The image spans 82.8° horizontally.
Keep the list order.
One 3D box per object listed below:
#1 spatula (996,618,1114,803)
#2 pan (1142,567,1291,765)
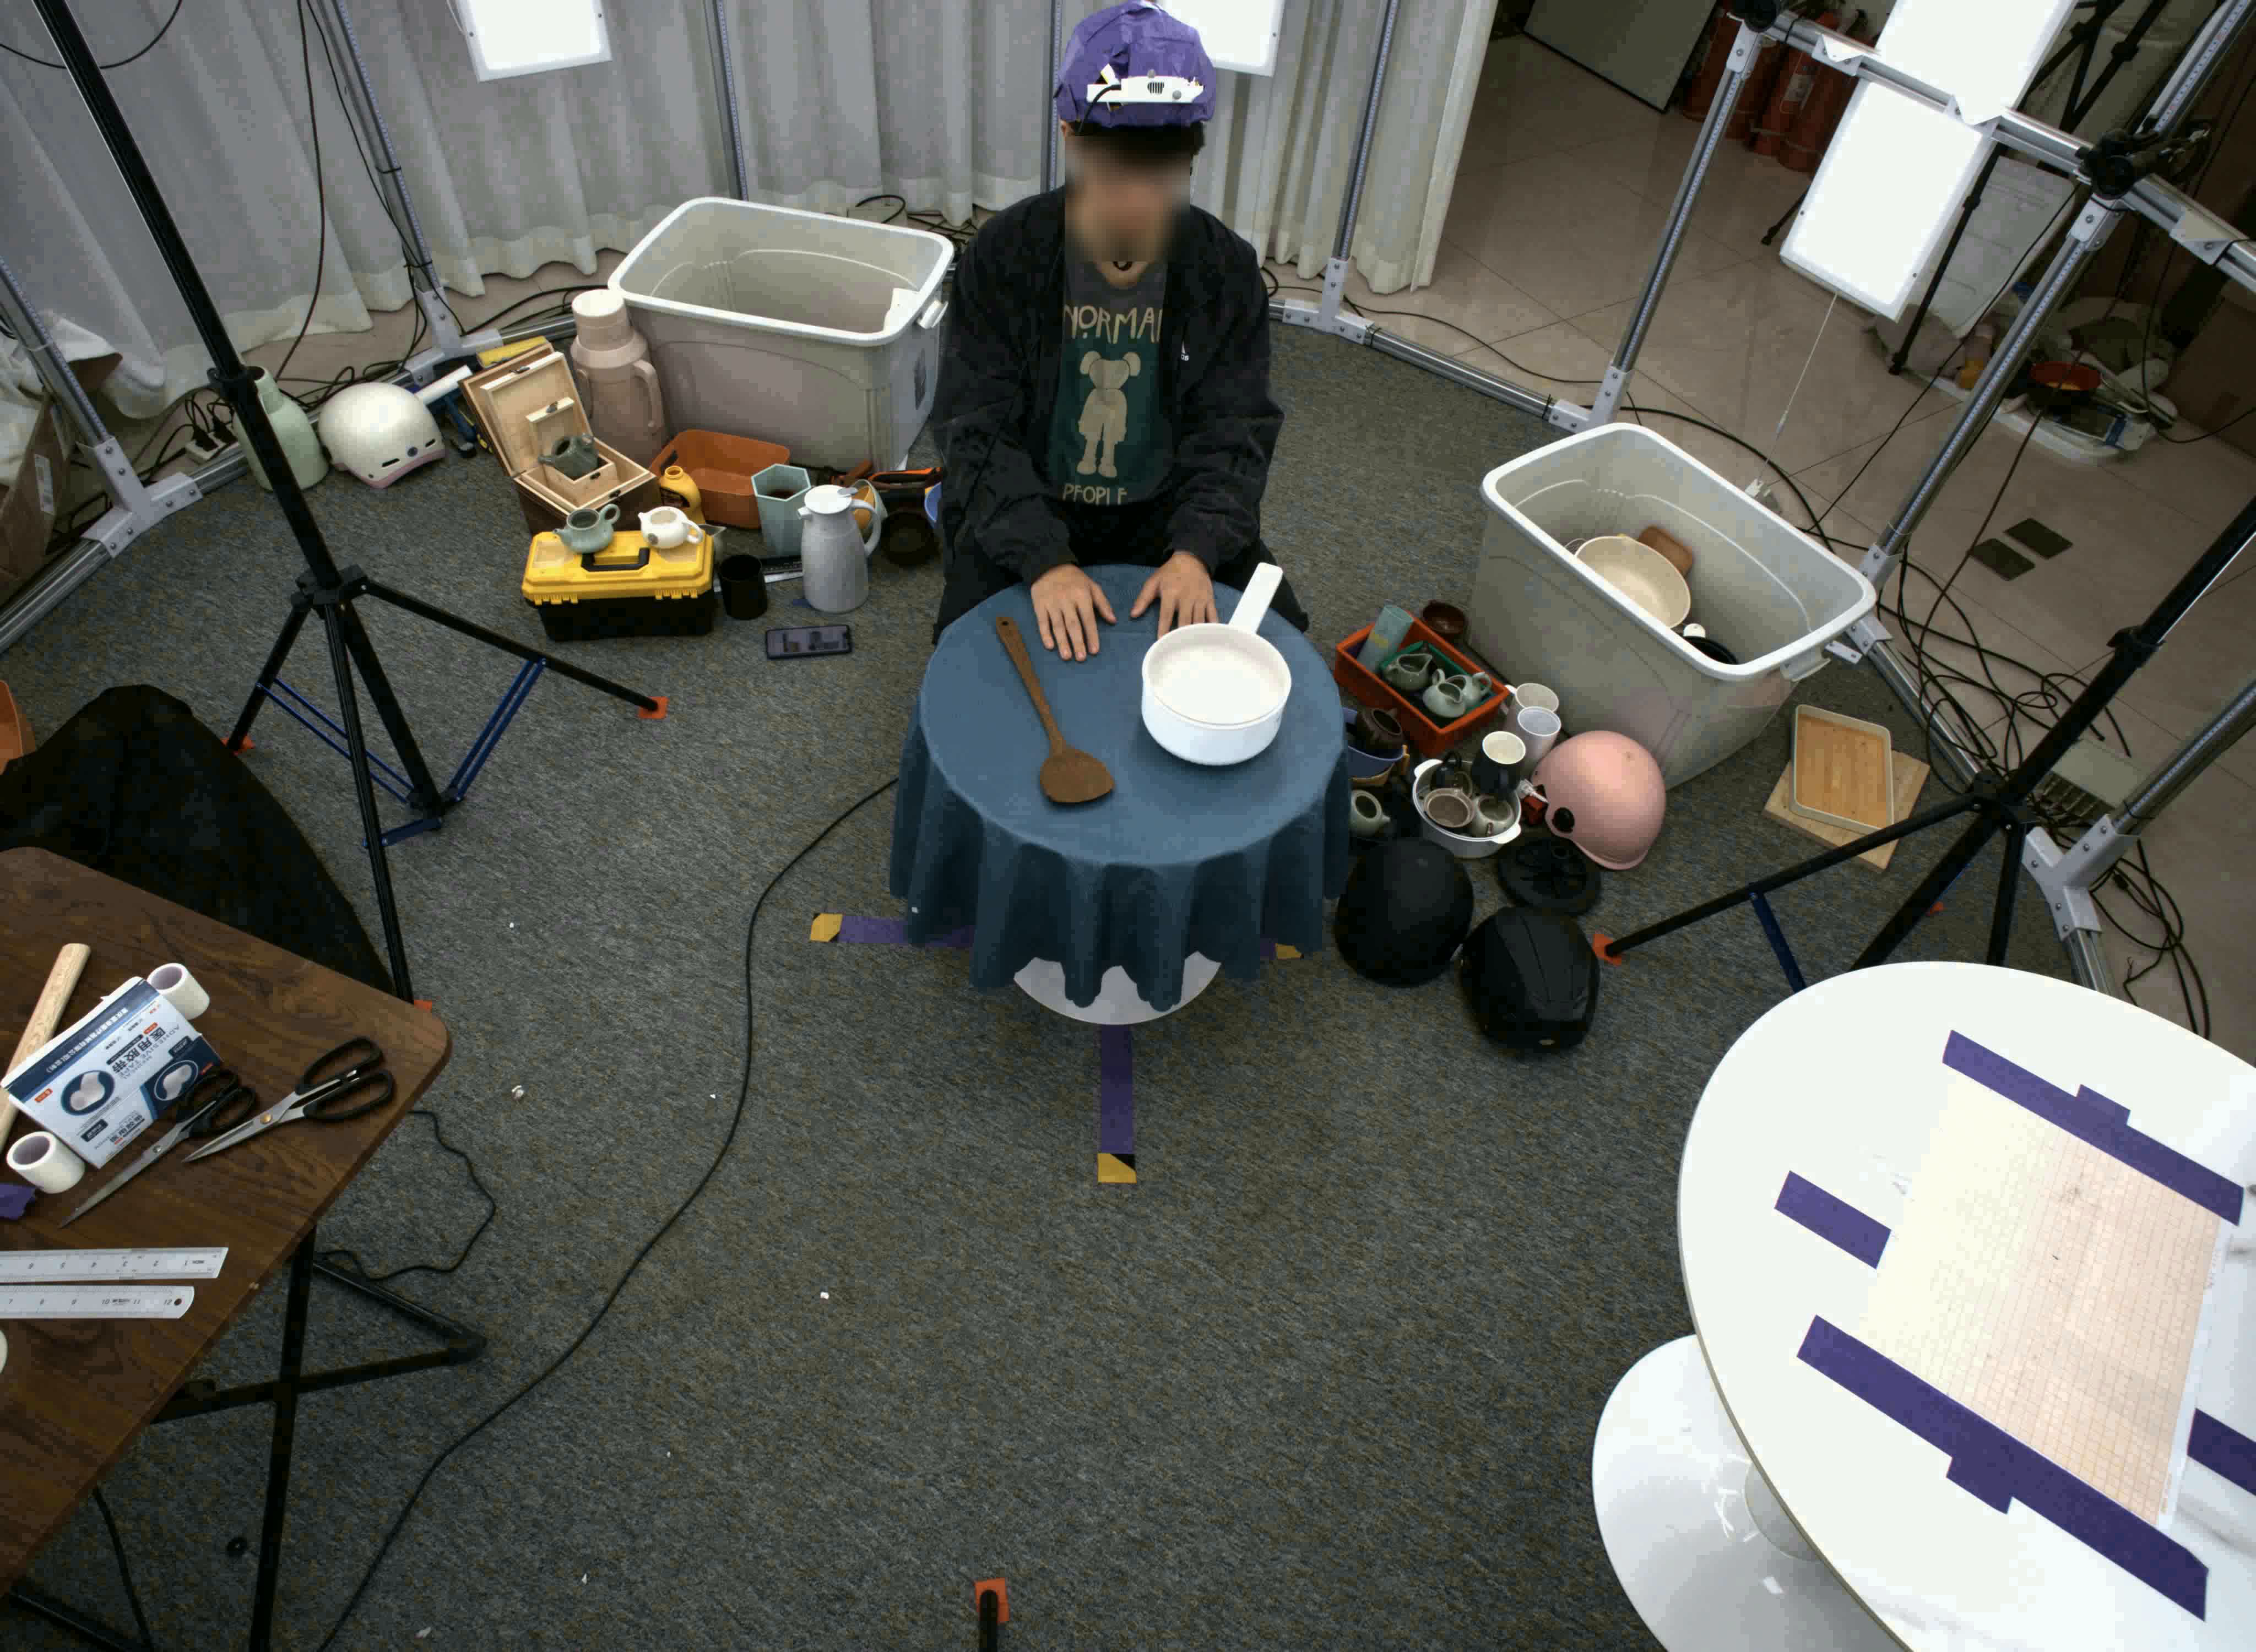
[{"bbox_3d":[-0.122,-0.172,1.799,0.096,0.015,0.395,-13,50,-15],"label":"spatula"},{"bbox_3d":[0.145,-0.228,1.813,0.202,0.099,0.362,17,48,13],"label":"pan"}]
